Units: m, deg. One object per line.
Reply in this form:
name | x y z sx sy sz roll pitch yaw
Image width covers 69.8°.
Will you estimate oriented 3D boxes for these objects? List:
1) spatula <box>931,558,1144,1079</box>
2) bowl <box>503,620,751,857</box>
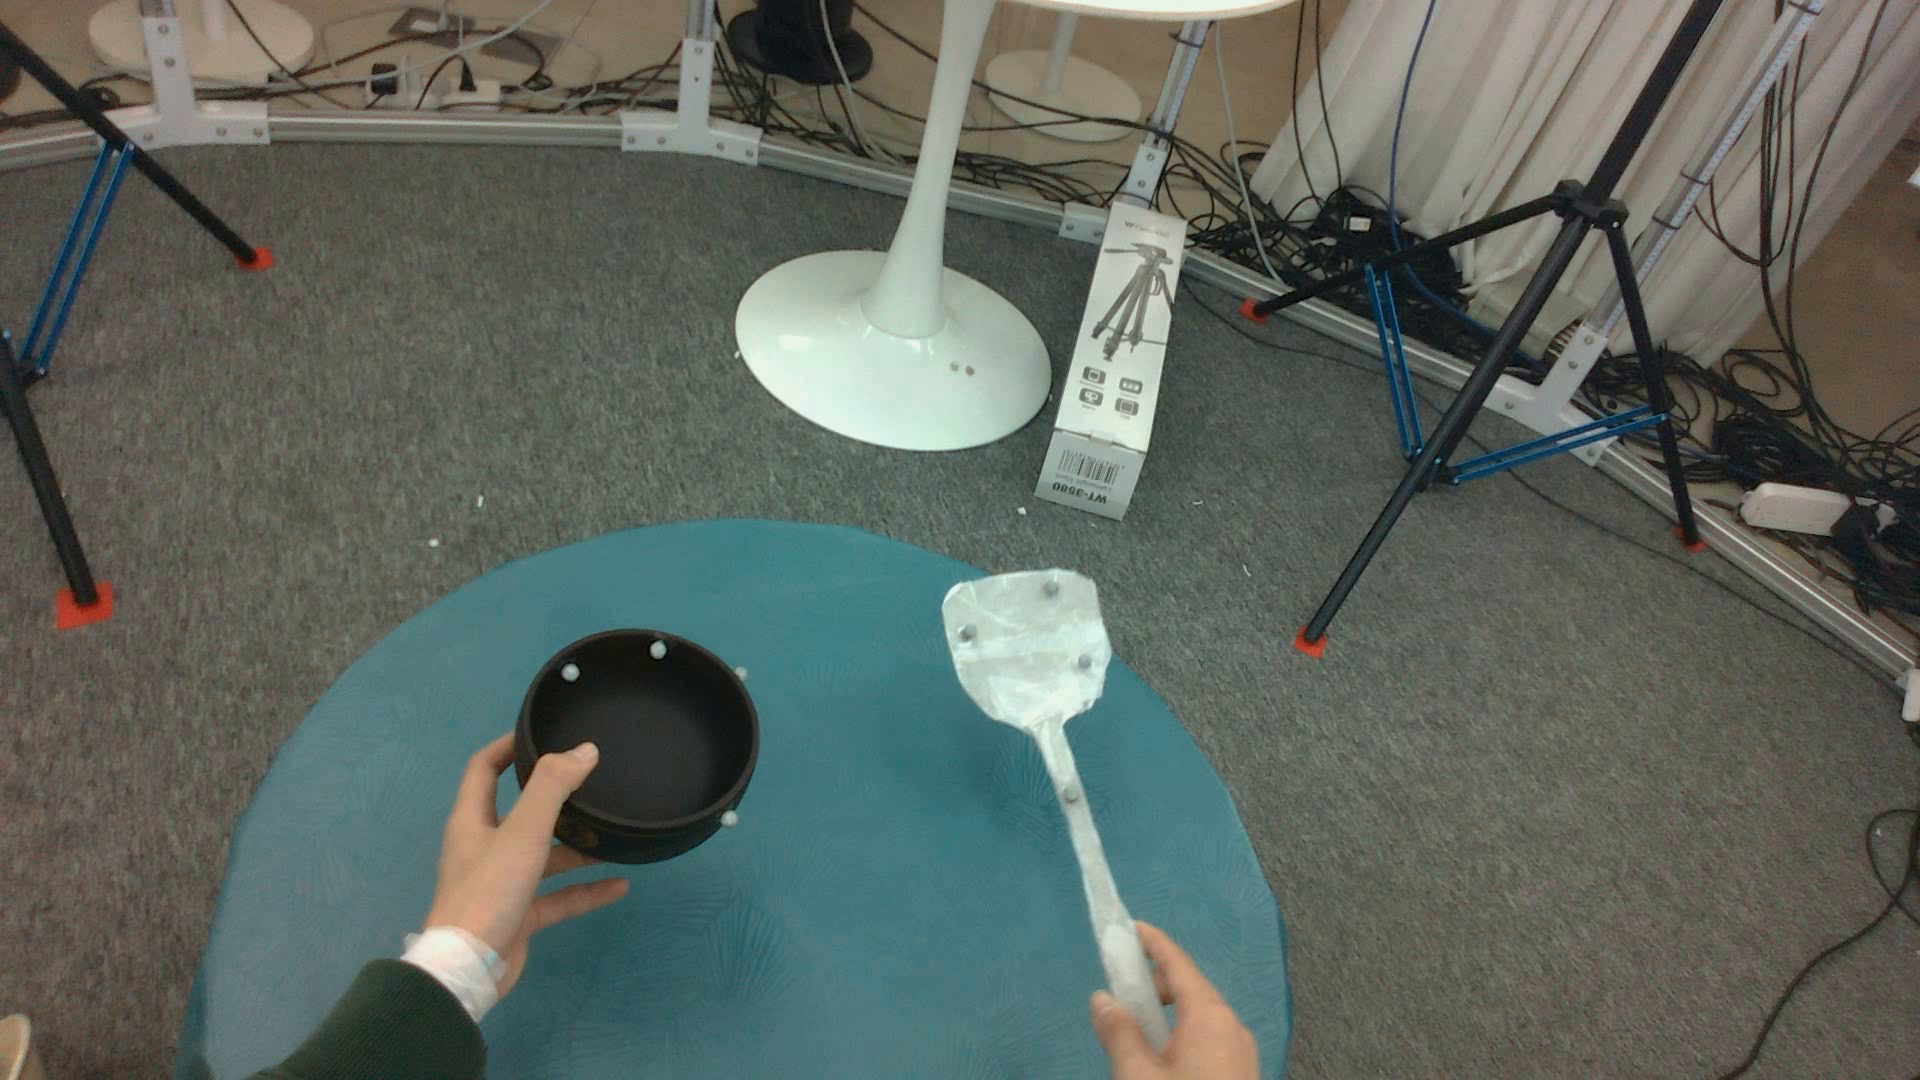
spatula | 0.055 0.149 0.735 0.099 0.044 0.366 -4 43 -9
bowl | -0.169 0.106 0.693 0.118 0.069 0.118 13 46 -14
